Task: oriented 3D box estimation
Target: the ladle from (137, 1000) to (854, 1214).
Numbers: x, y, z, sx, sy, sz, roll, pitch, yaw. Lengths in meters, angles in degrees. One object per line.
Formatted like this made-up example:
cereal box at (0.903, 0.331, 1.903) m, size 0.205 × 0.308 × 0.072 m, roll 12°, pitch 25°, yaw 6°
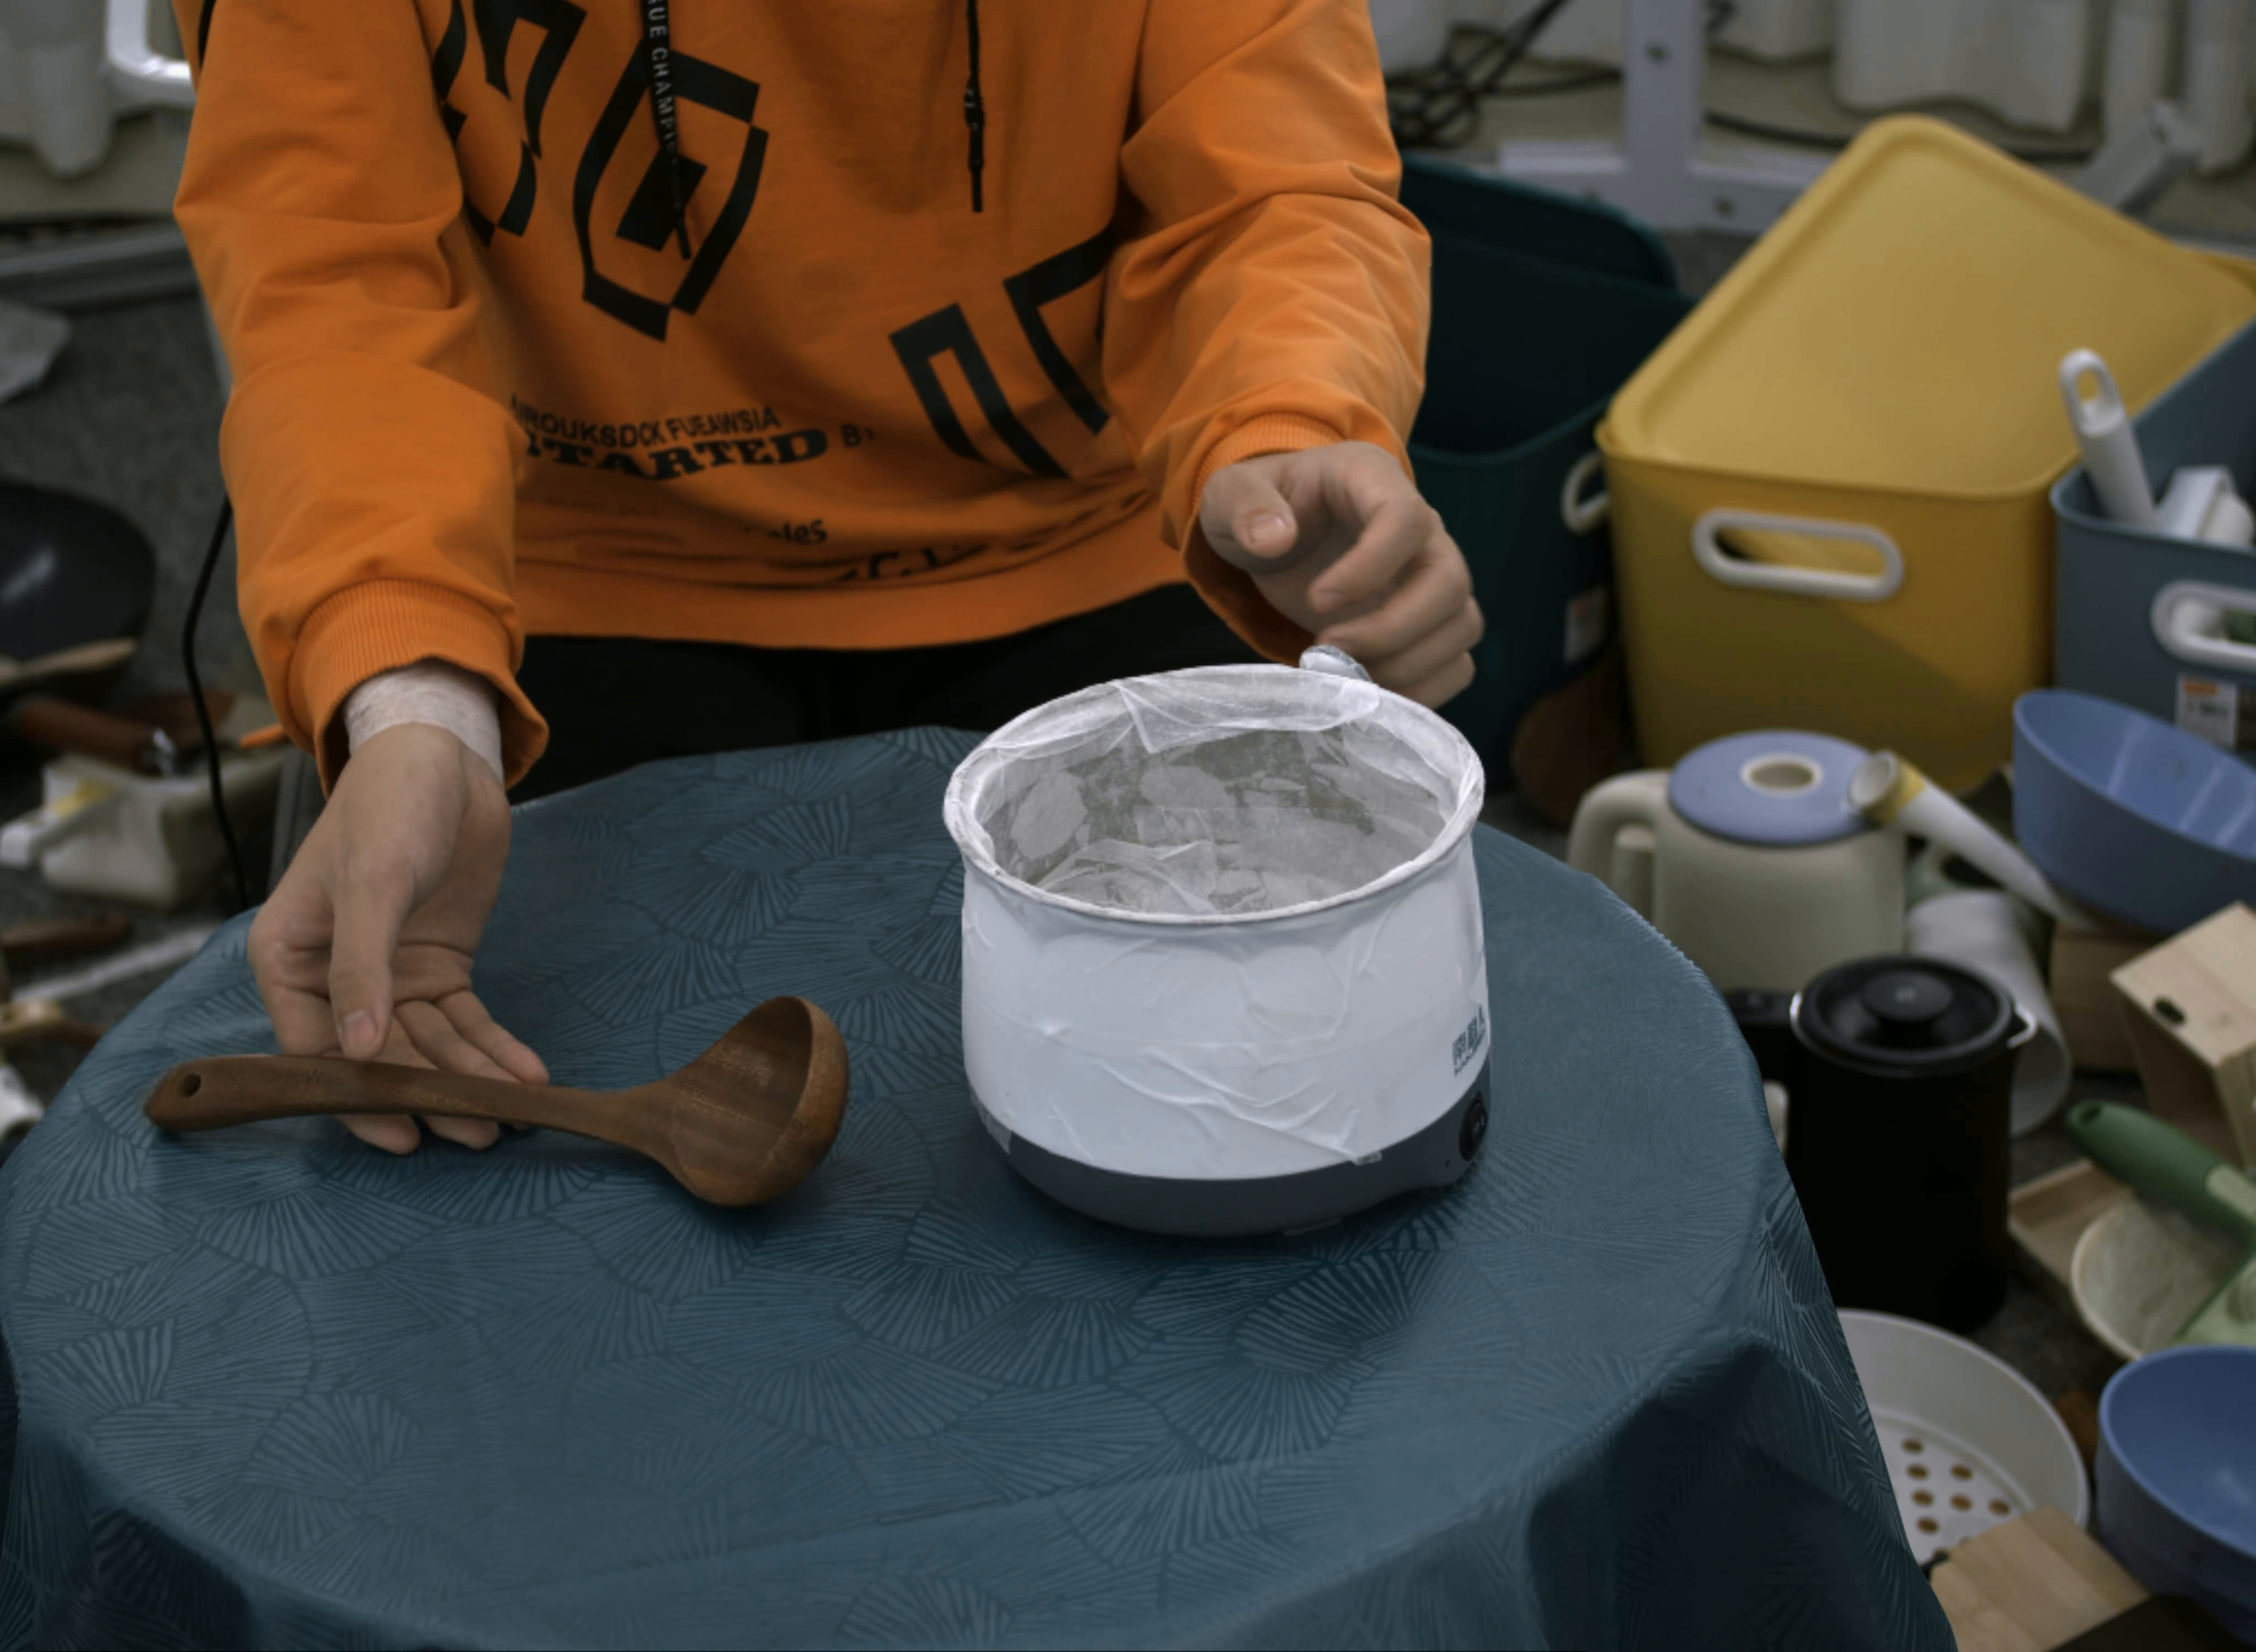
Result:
ladle at (-0.216, 0.088, 1.883) m, size 0.258 × 0.064 × 0.078 m, roll 4°, pitch 52°, yaw 11°

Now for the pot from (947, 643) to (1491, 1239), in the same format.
pot at (0.042, 0.031, 1.886) m, size 0.177 × 0.135 × 0.238 m, roll 8°, pitch 29°, yaw 20°
